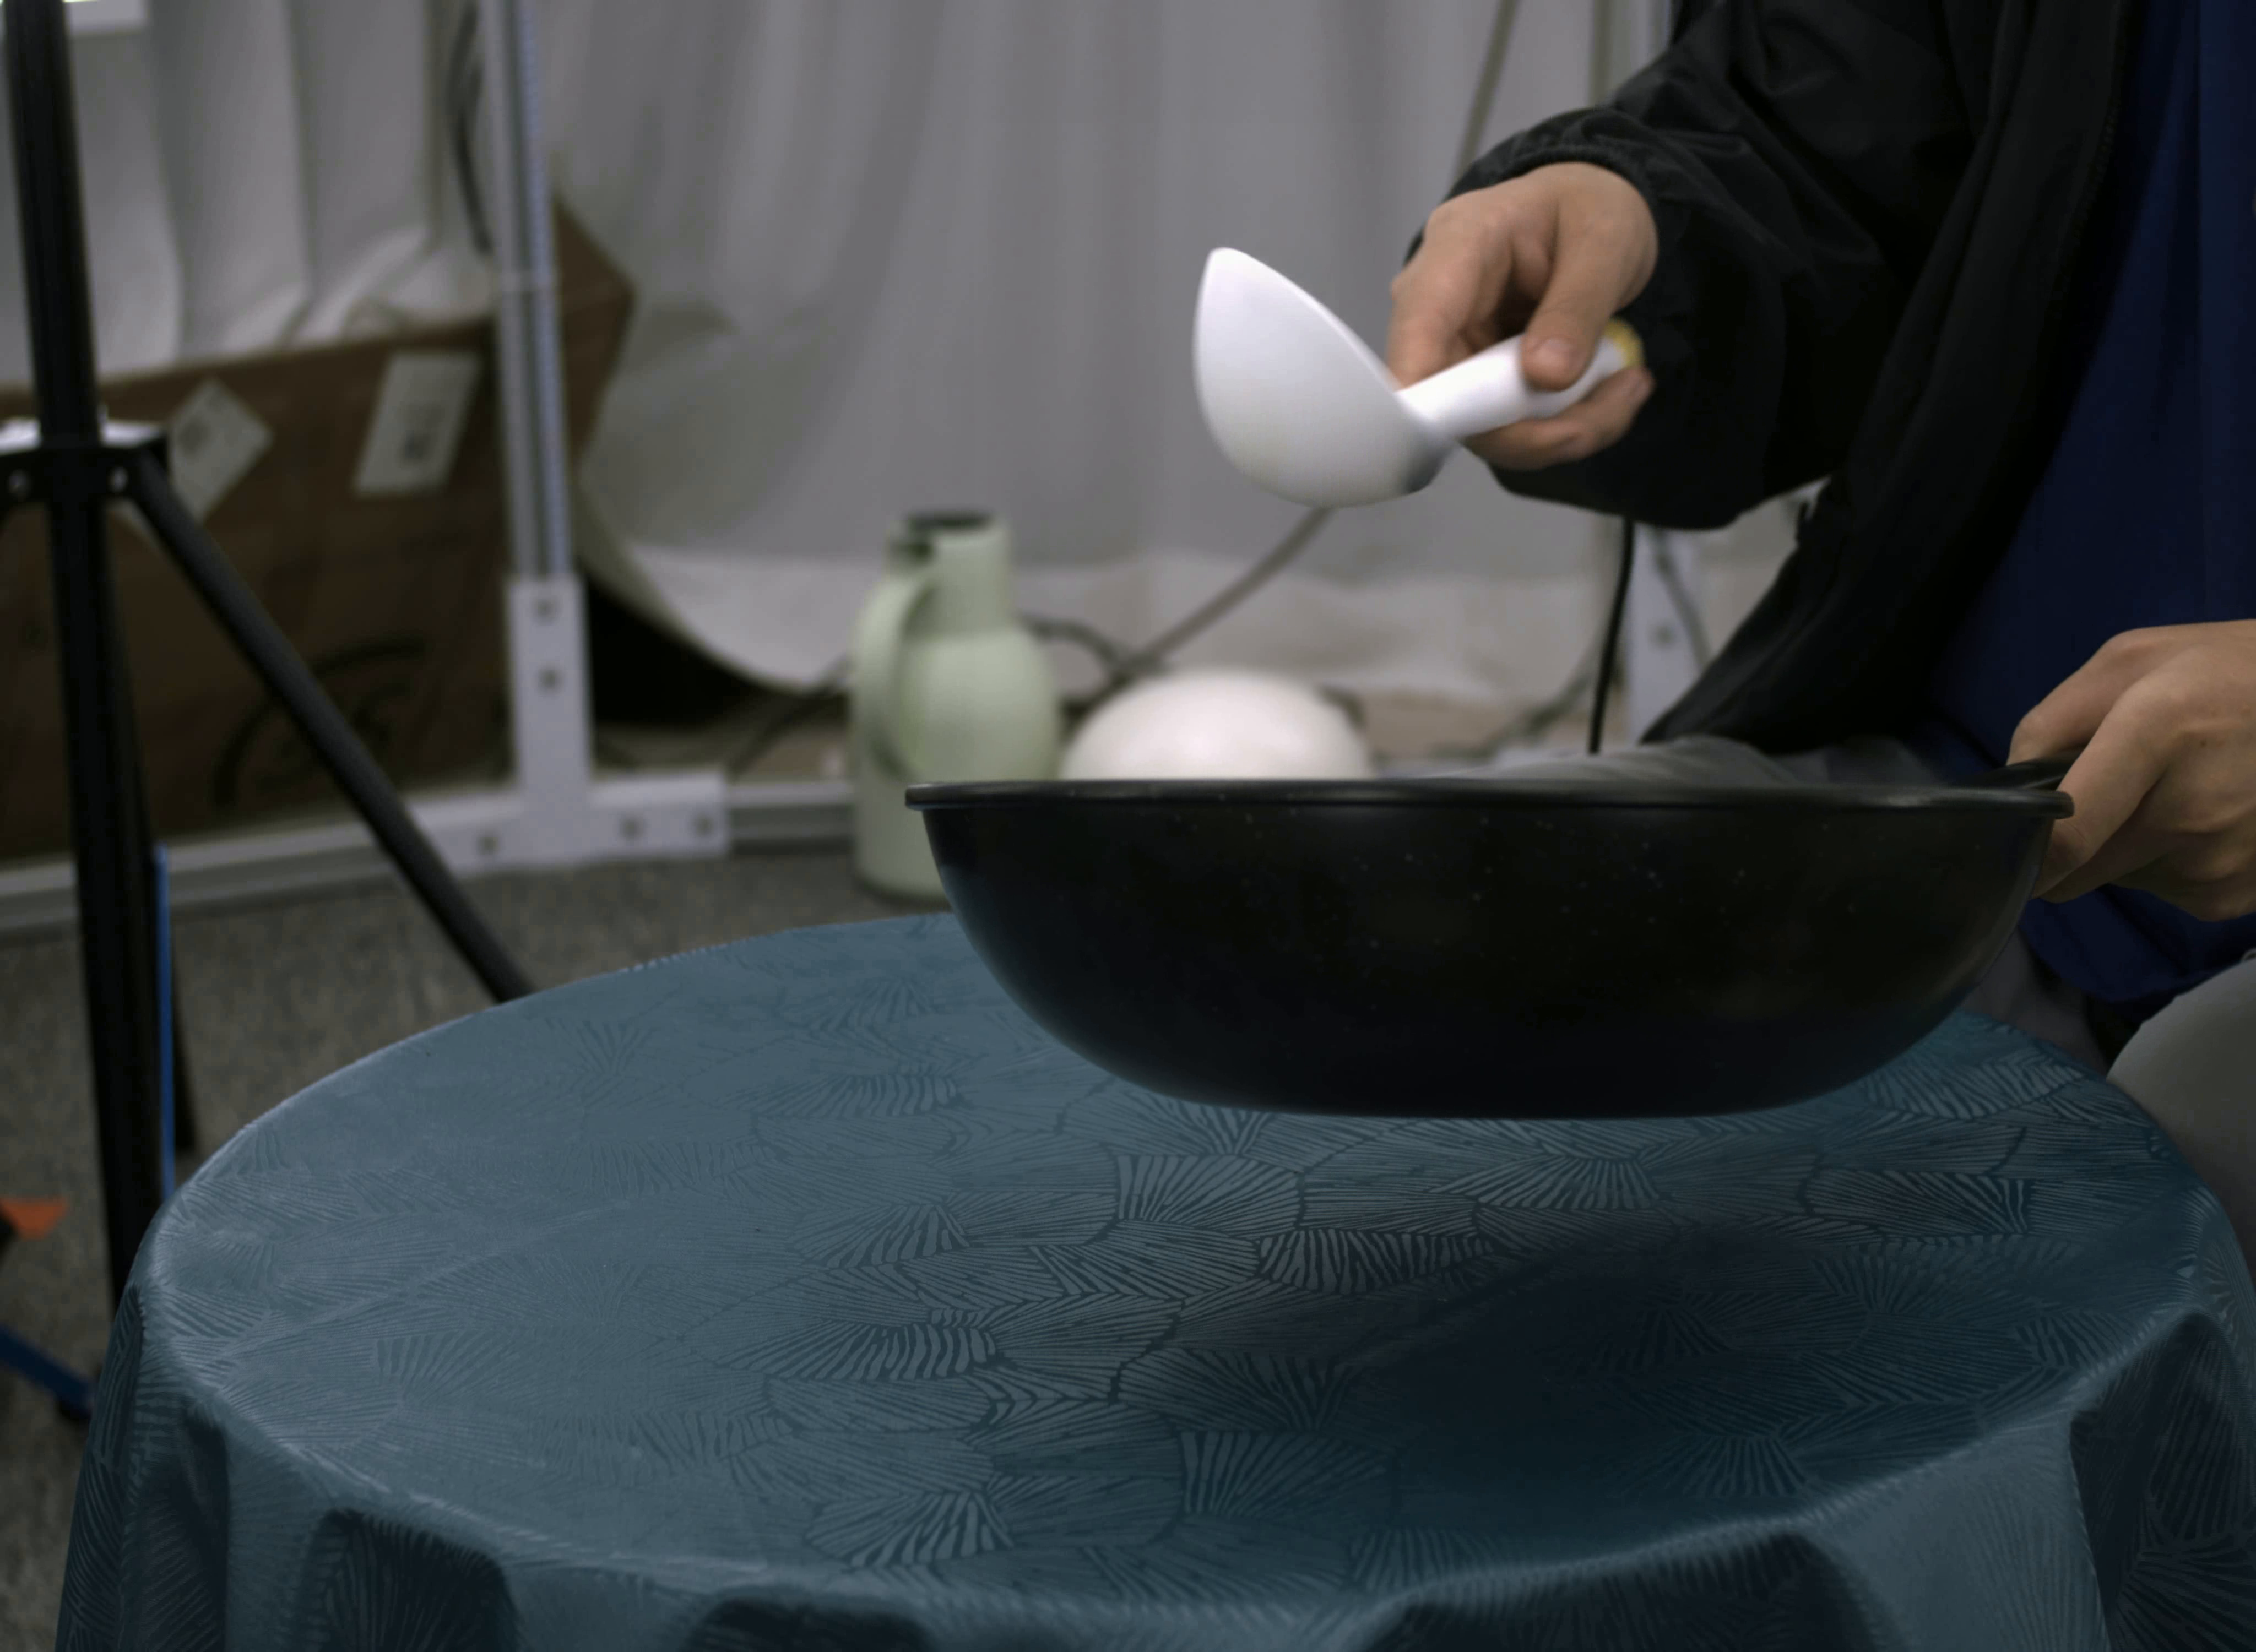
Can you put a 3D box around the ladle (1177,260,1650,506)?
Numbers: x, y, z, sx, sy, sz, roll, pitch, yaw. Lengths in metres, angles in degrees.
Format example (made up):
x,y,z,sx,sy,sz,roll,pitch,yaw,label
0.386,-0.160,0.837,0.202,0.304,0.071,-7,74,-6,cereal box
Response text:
x,y,z,sx,sy,sz,roll,pitch,yaw,label
0.099,-0.137,1.595,0.091,0.070,0.287,30,20,20,ladle

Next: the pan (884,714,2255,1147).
x,y,z,sx,sy,sz,roll,pitch,yaw,label
0.155,0.024,1.444,0.464,0.112,0.317,0,2,-37,pan
